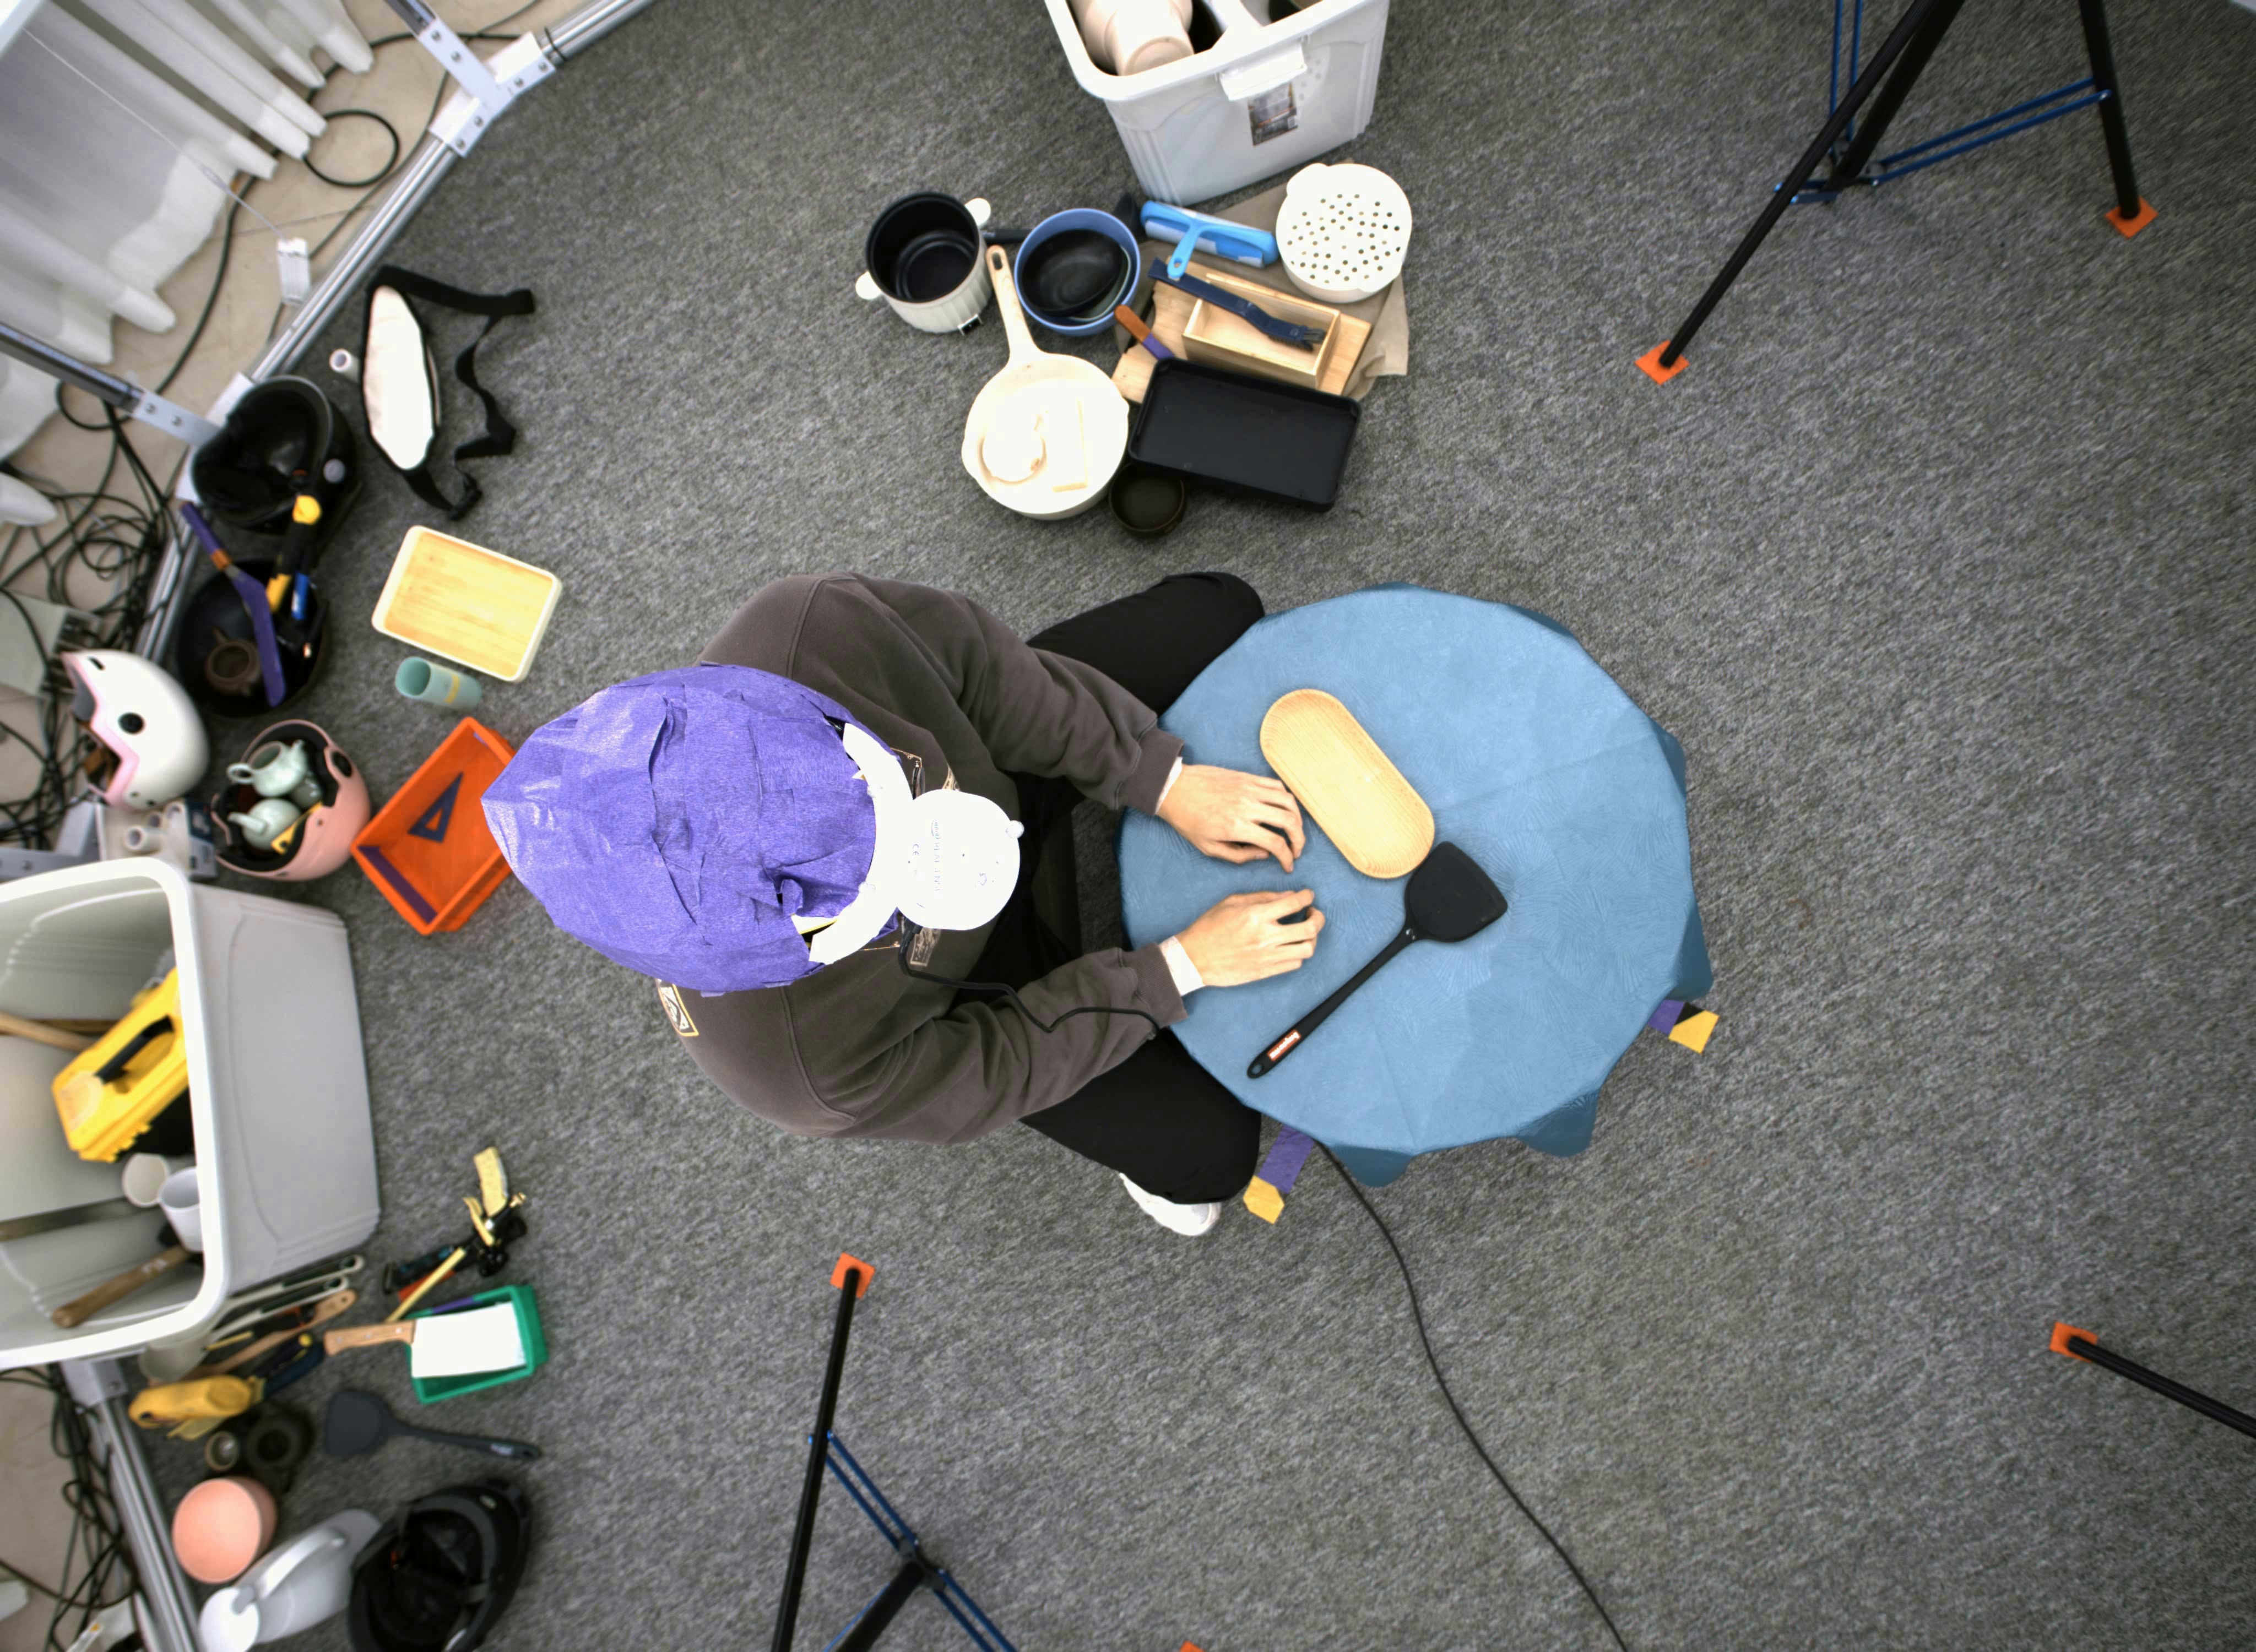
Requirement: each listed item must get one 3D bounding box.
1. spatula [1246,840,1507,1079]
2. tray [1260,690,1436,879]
[{"bbox_3d":[0.244,0.153,1.440,0.327,0.040,0.099,-42,79,6],"label":"spatula"},{"bbox_3d":[0.232,-0.046,1.462,0.102,0.020,0.230,-39,82,7],"label":"tray"}]
